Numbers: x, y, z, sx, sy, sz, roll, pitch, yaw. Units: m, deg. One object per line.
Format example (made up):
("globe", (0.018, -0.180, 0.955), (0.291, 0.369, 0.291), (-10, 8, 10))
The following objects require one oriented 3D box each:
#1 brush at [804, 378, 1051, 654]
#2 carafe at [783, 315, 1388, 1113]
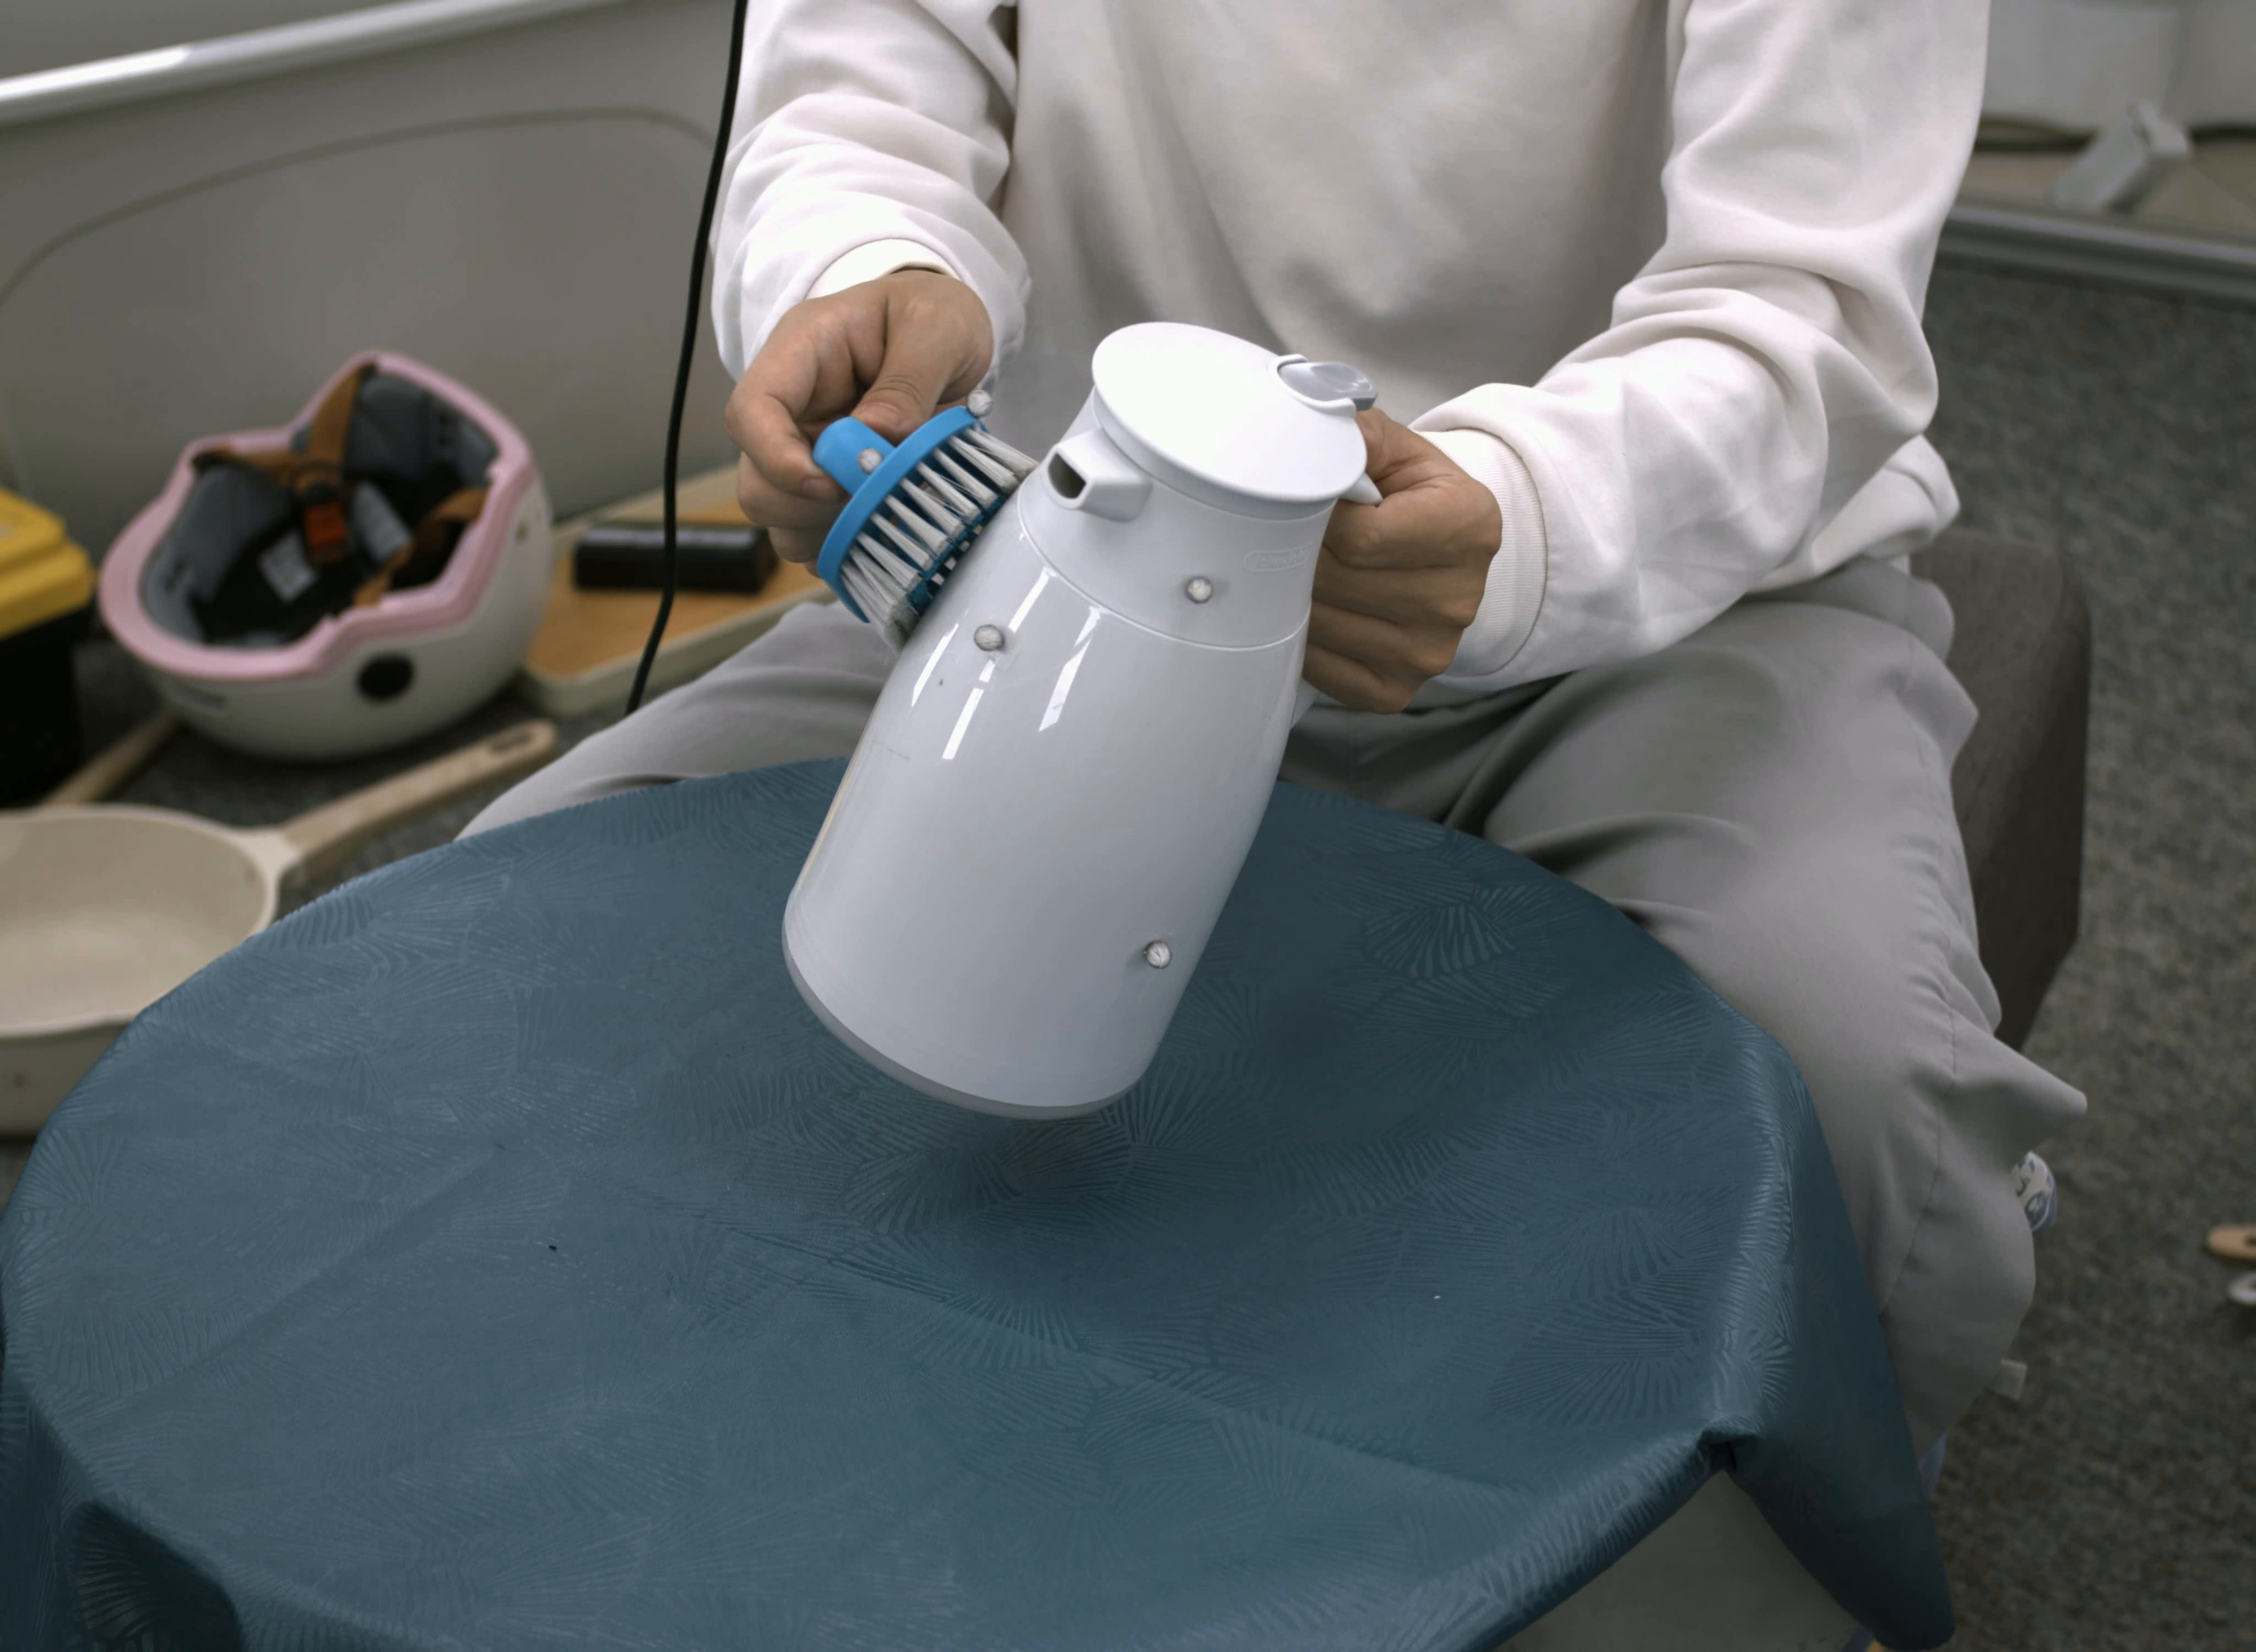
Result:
("brush", (-0.071, -0.108, 1.840), (0.064, 0.084, 0.141), (38, 1, 9))
("carafe", (0.003, -0.046, 1.821), (0.169, 0.245, 0.133), (-11, 45, -45))
